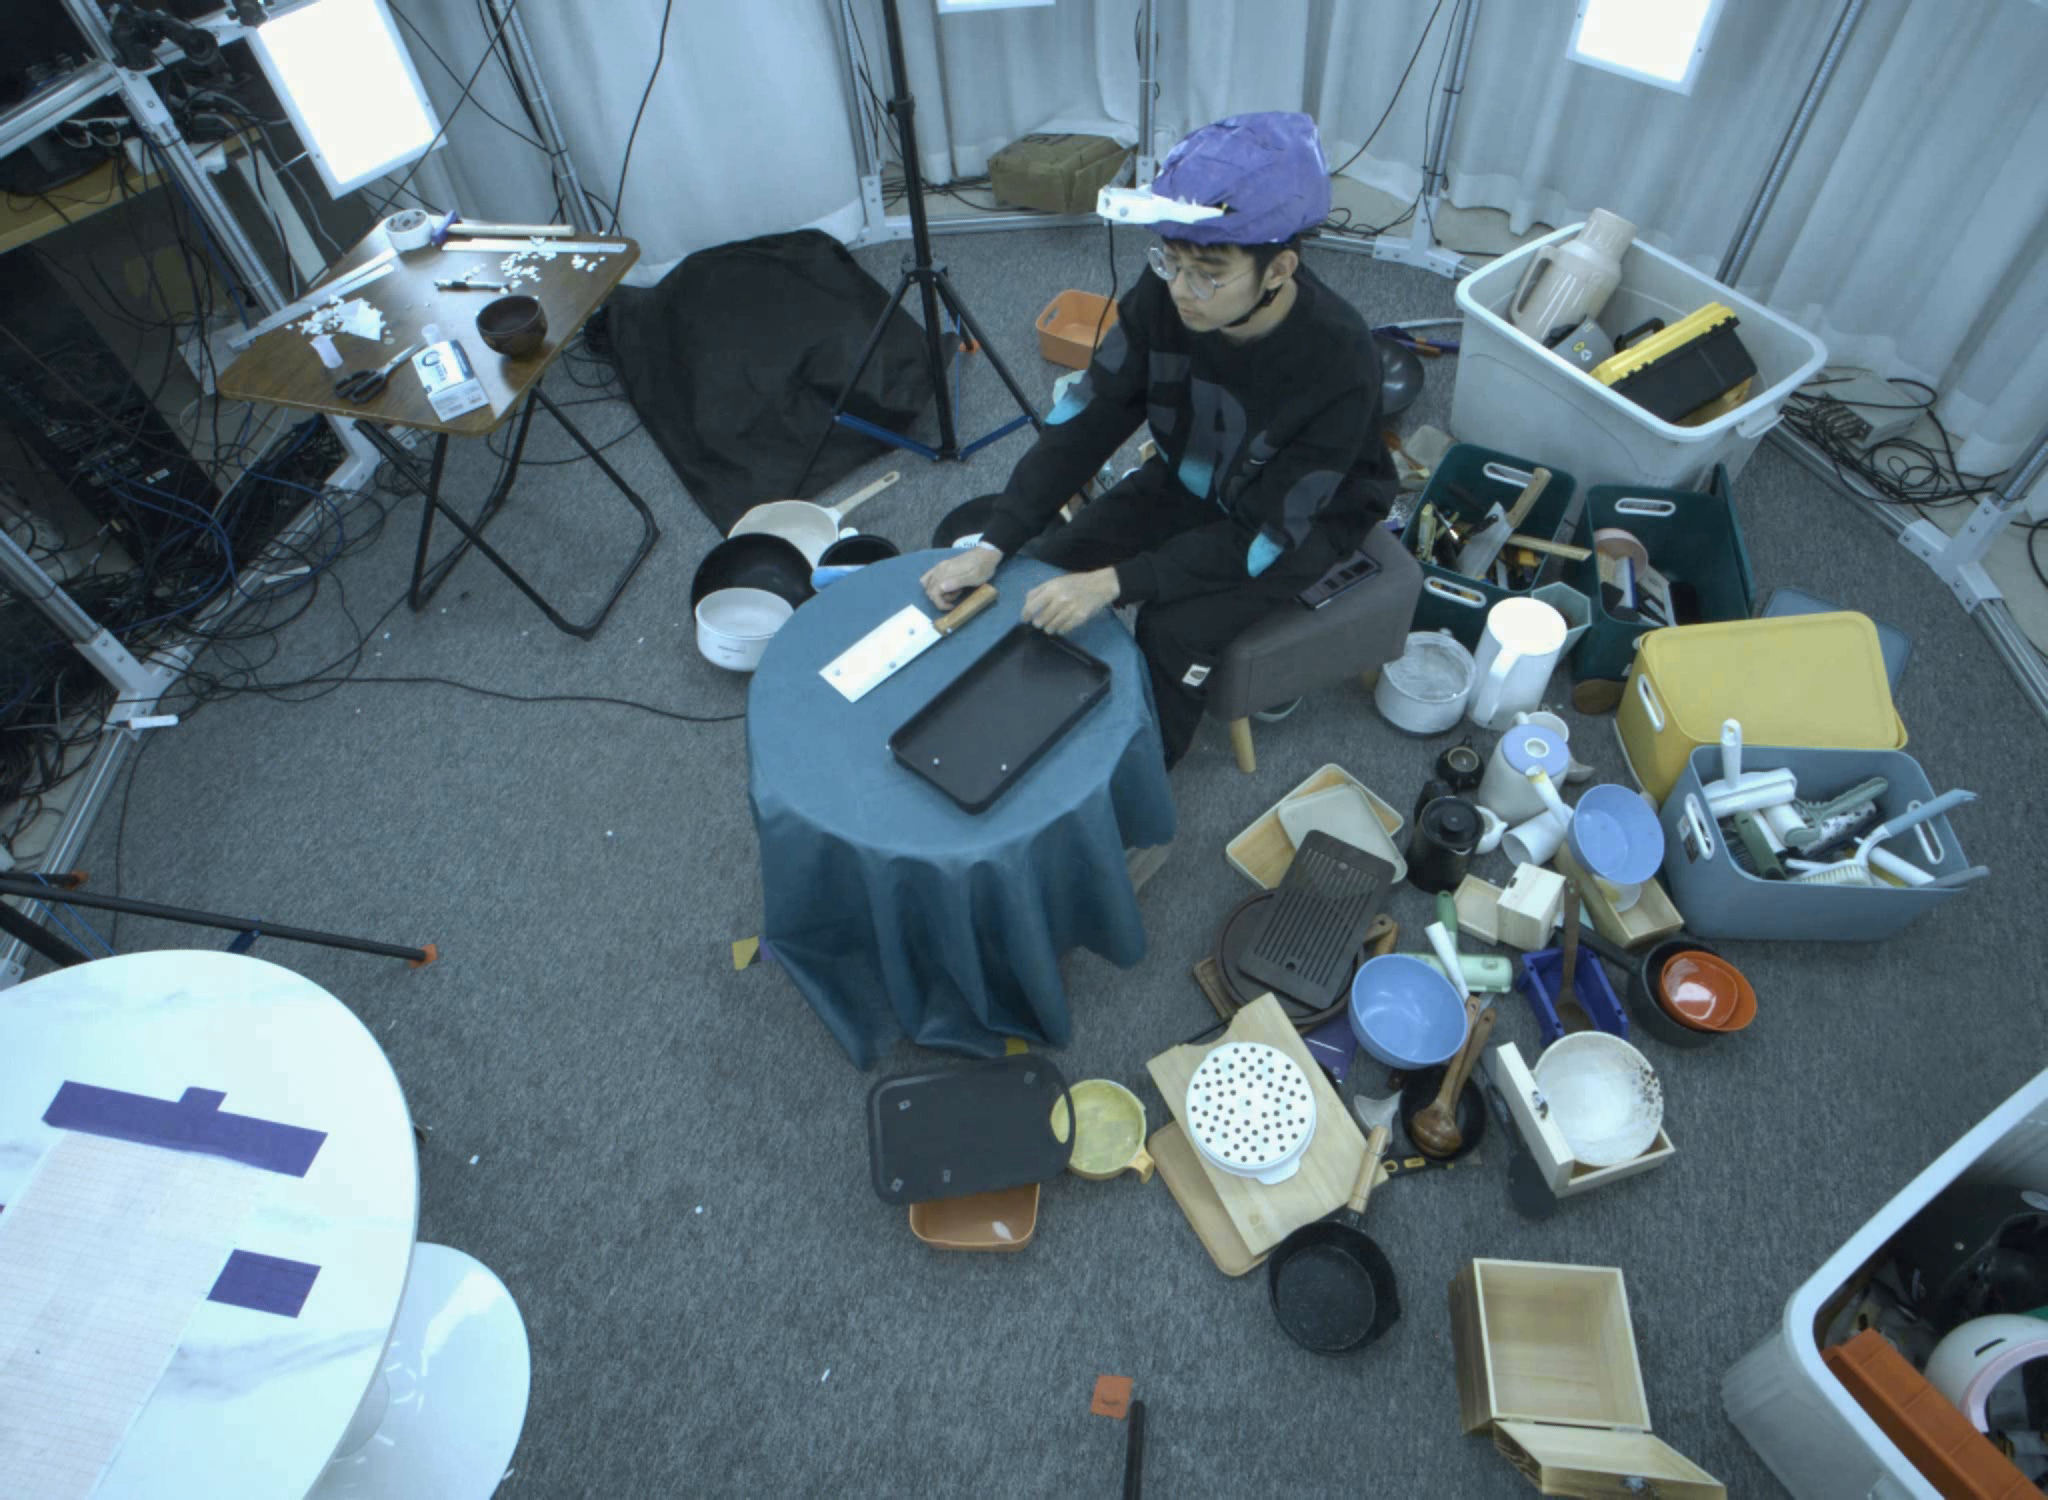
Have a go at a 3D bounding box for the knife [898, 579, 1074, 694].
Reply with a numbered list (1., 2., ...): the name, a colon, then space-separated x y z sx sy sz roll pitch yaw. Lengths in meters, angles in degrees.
1. knife: -0.062 -0.192 1.916 0.308 0.021 0.091 -35 59 -18

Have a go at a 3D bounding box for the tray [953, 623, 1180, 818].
1. tray: 0.065 -0.049 1.797 0.181 0.037 0.320 37 63 25
